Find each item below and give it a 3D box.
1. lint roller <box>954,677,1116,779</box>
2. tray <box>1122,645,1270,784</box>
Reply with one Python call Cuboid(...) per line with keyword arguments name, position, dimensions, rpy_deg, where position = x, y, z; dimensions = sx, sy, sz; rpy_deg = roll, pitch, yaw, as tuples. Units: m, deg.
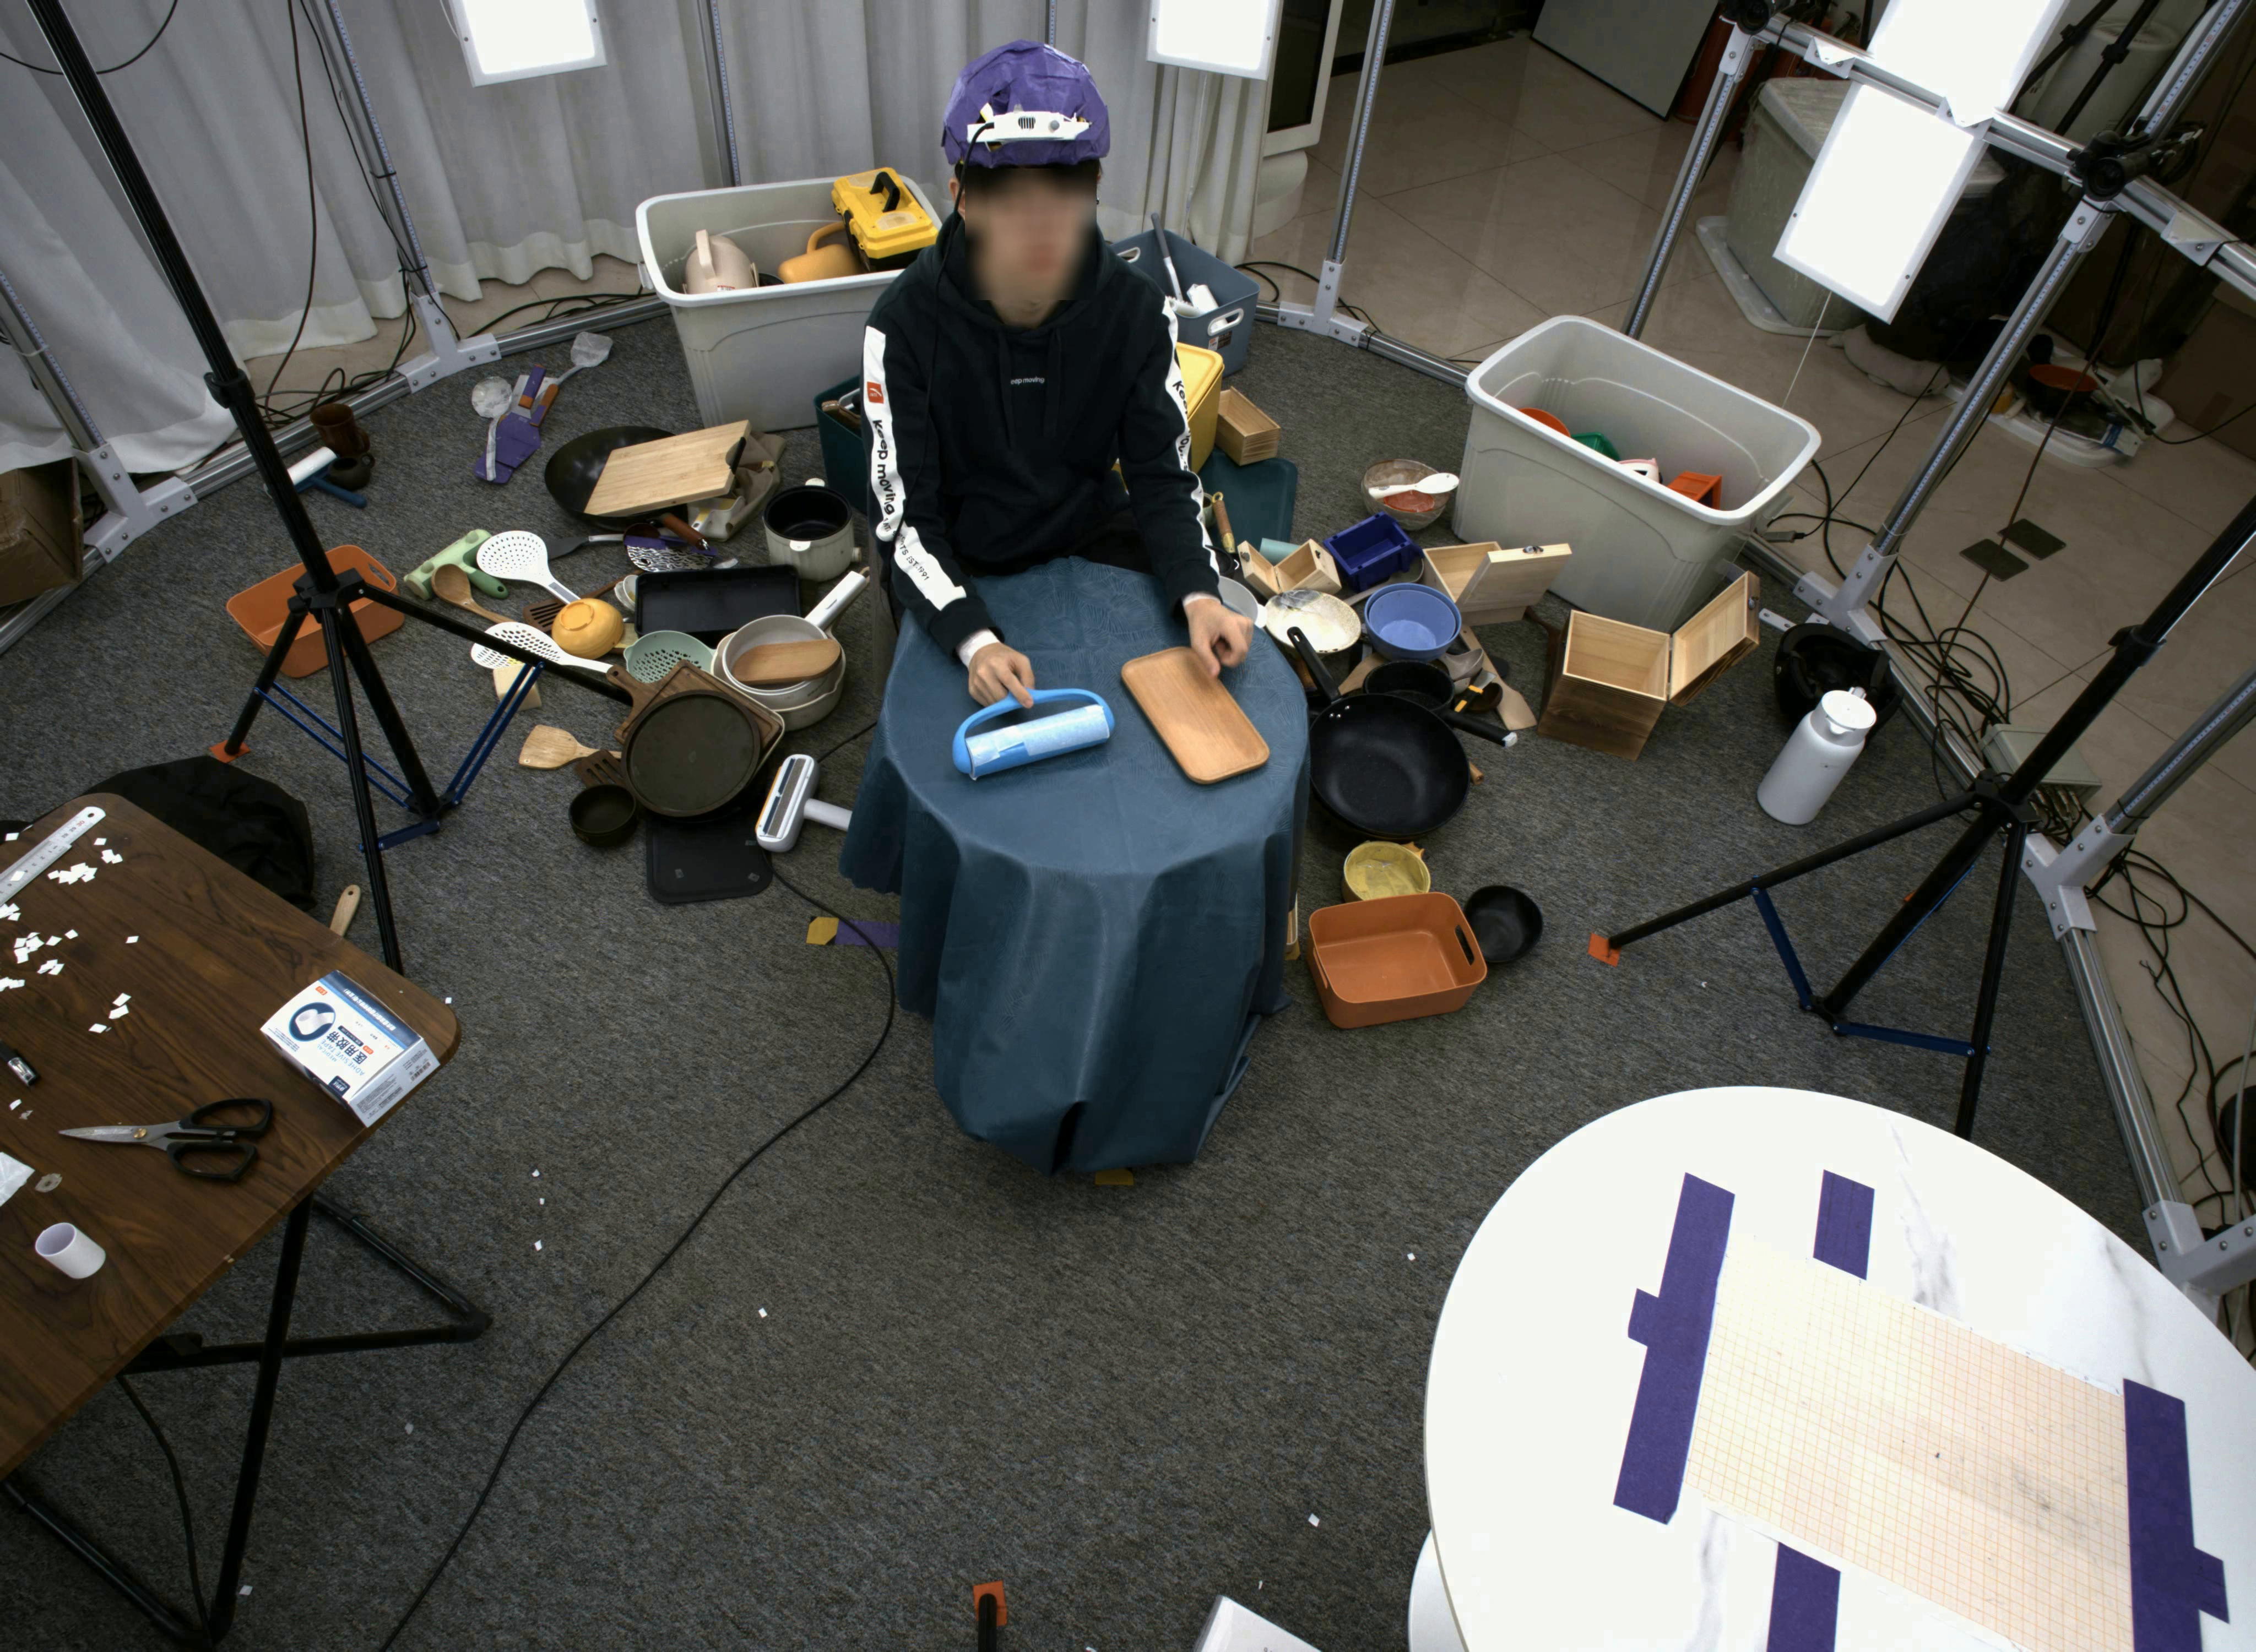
Cuboid(name="lint roller", position=(-0.149, -0.158, 1.758), dimensions=(0.229, 0.066, 0.184), rpy_deg=(-19, 54, -18))
Cuboid(name="tray", position=(0.093, -0.160, 1.801), dimensions=(0.131, 0.022, 0.256), rpy_deg=(-16, 52, -20))
